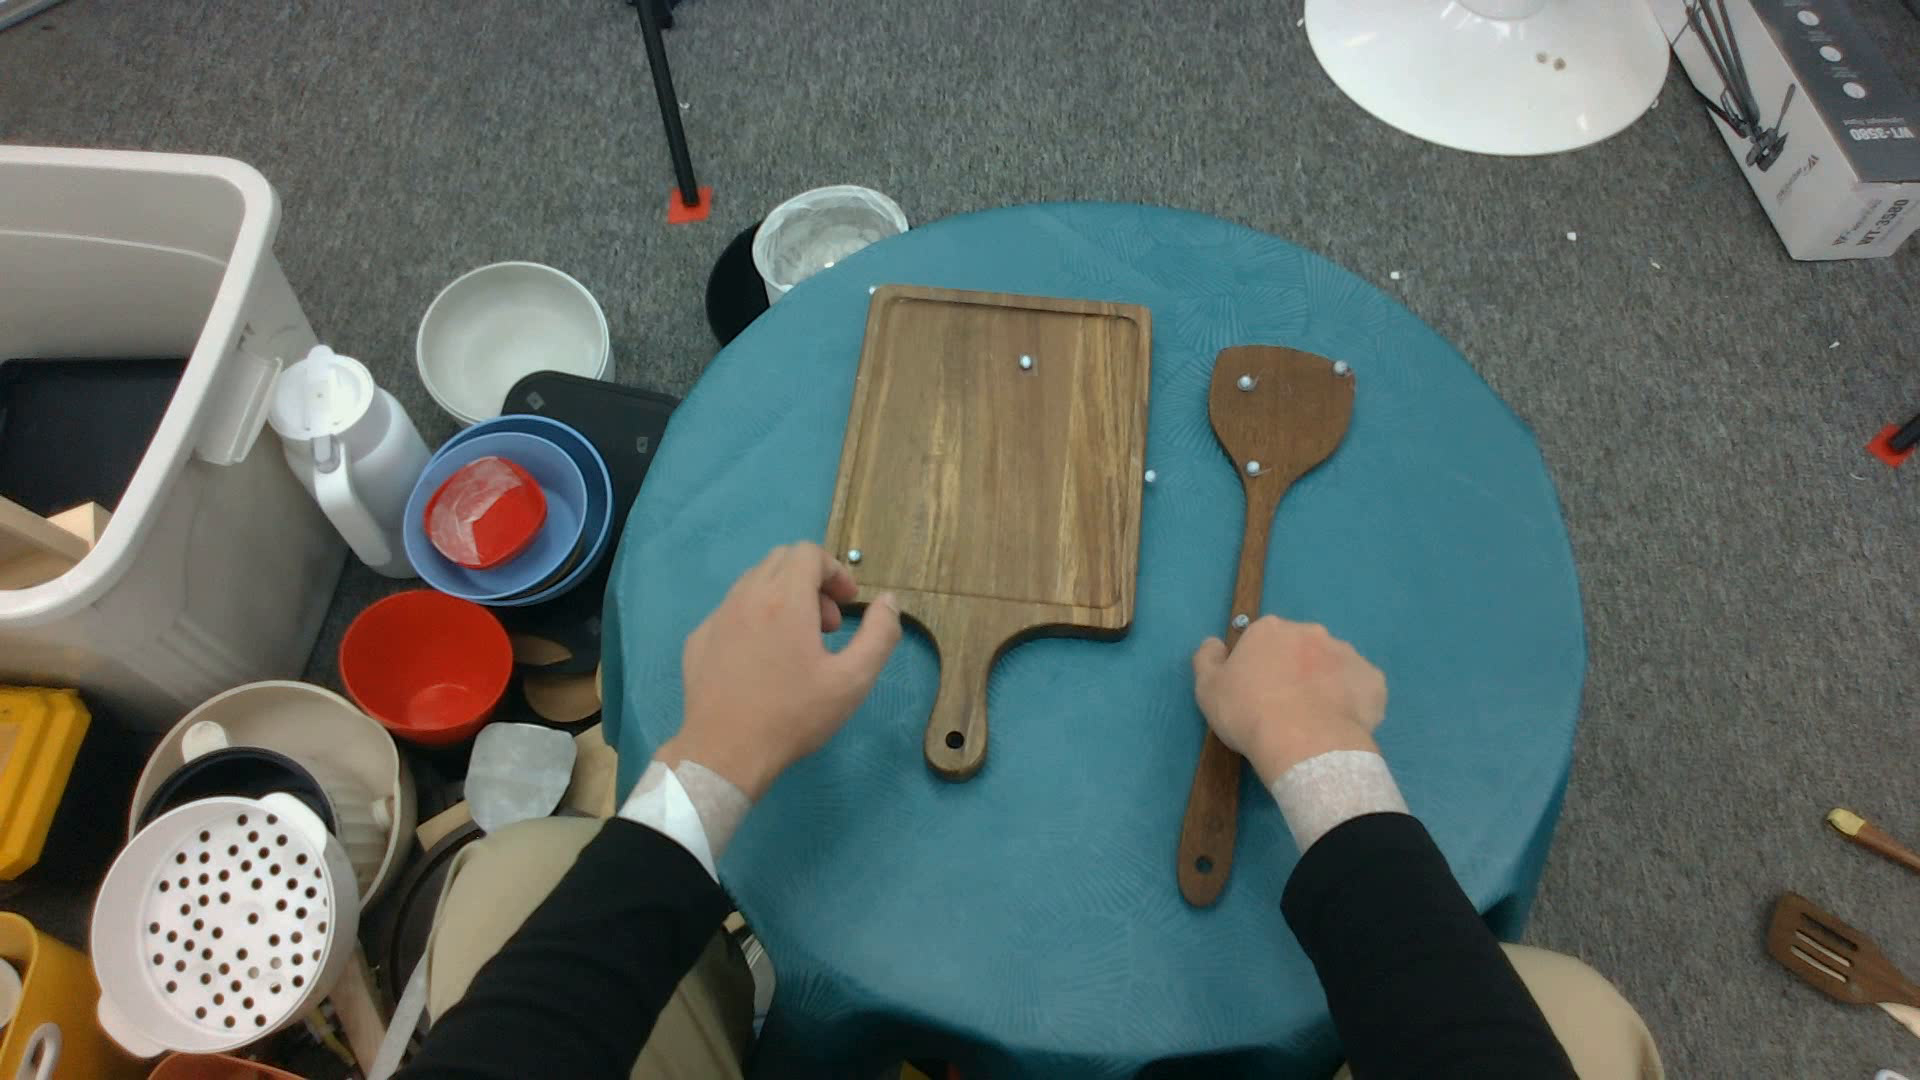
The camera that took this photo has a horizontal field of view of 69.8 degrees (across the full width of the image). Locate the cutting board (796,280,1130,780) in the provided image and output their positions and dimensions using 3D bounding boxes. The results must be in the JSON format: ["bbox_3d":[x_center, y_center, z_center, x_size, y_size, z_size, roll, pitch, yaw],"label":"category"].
[{"bbox_3d":[0.004,-0.019,0.870,0.201,0.023,0.353,5,61,3],"label":"cutting board"}]

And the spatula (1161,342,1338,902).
[{"bbox_3d":[0.166,0.032,0.844,0.096,0.016,0.387,12,61,6],"label":"spatula"}]
